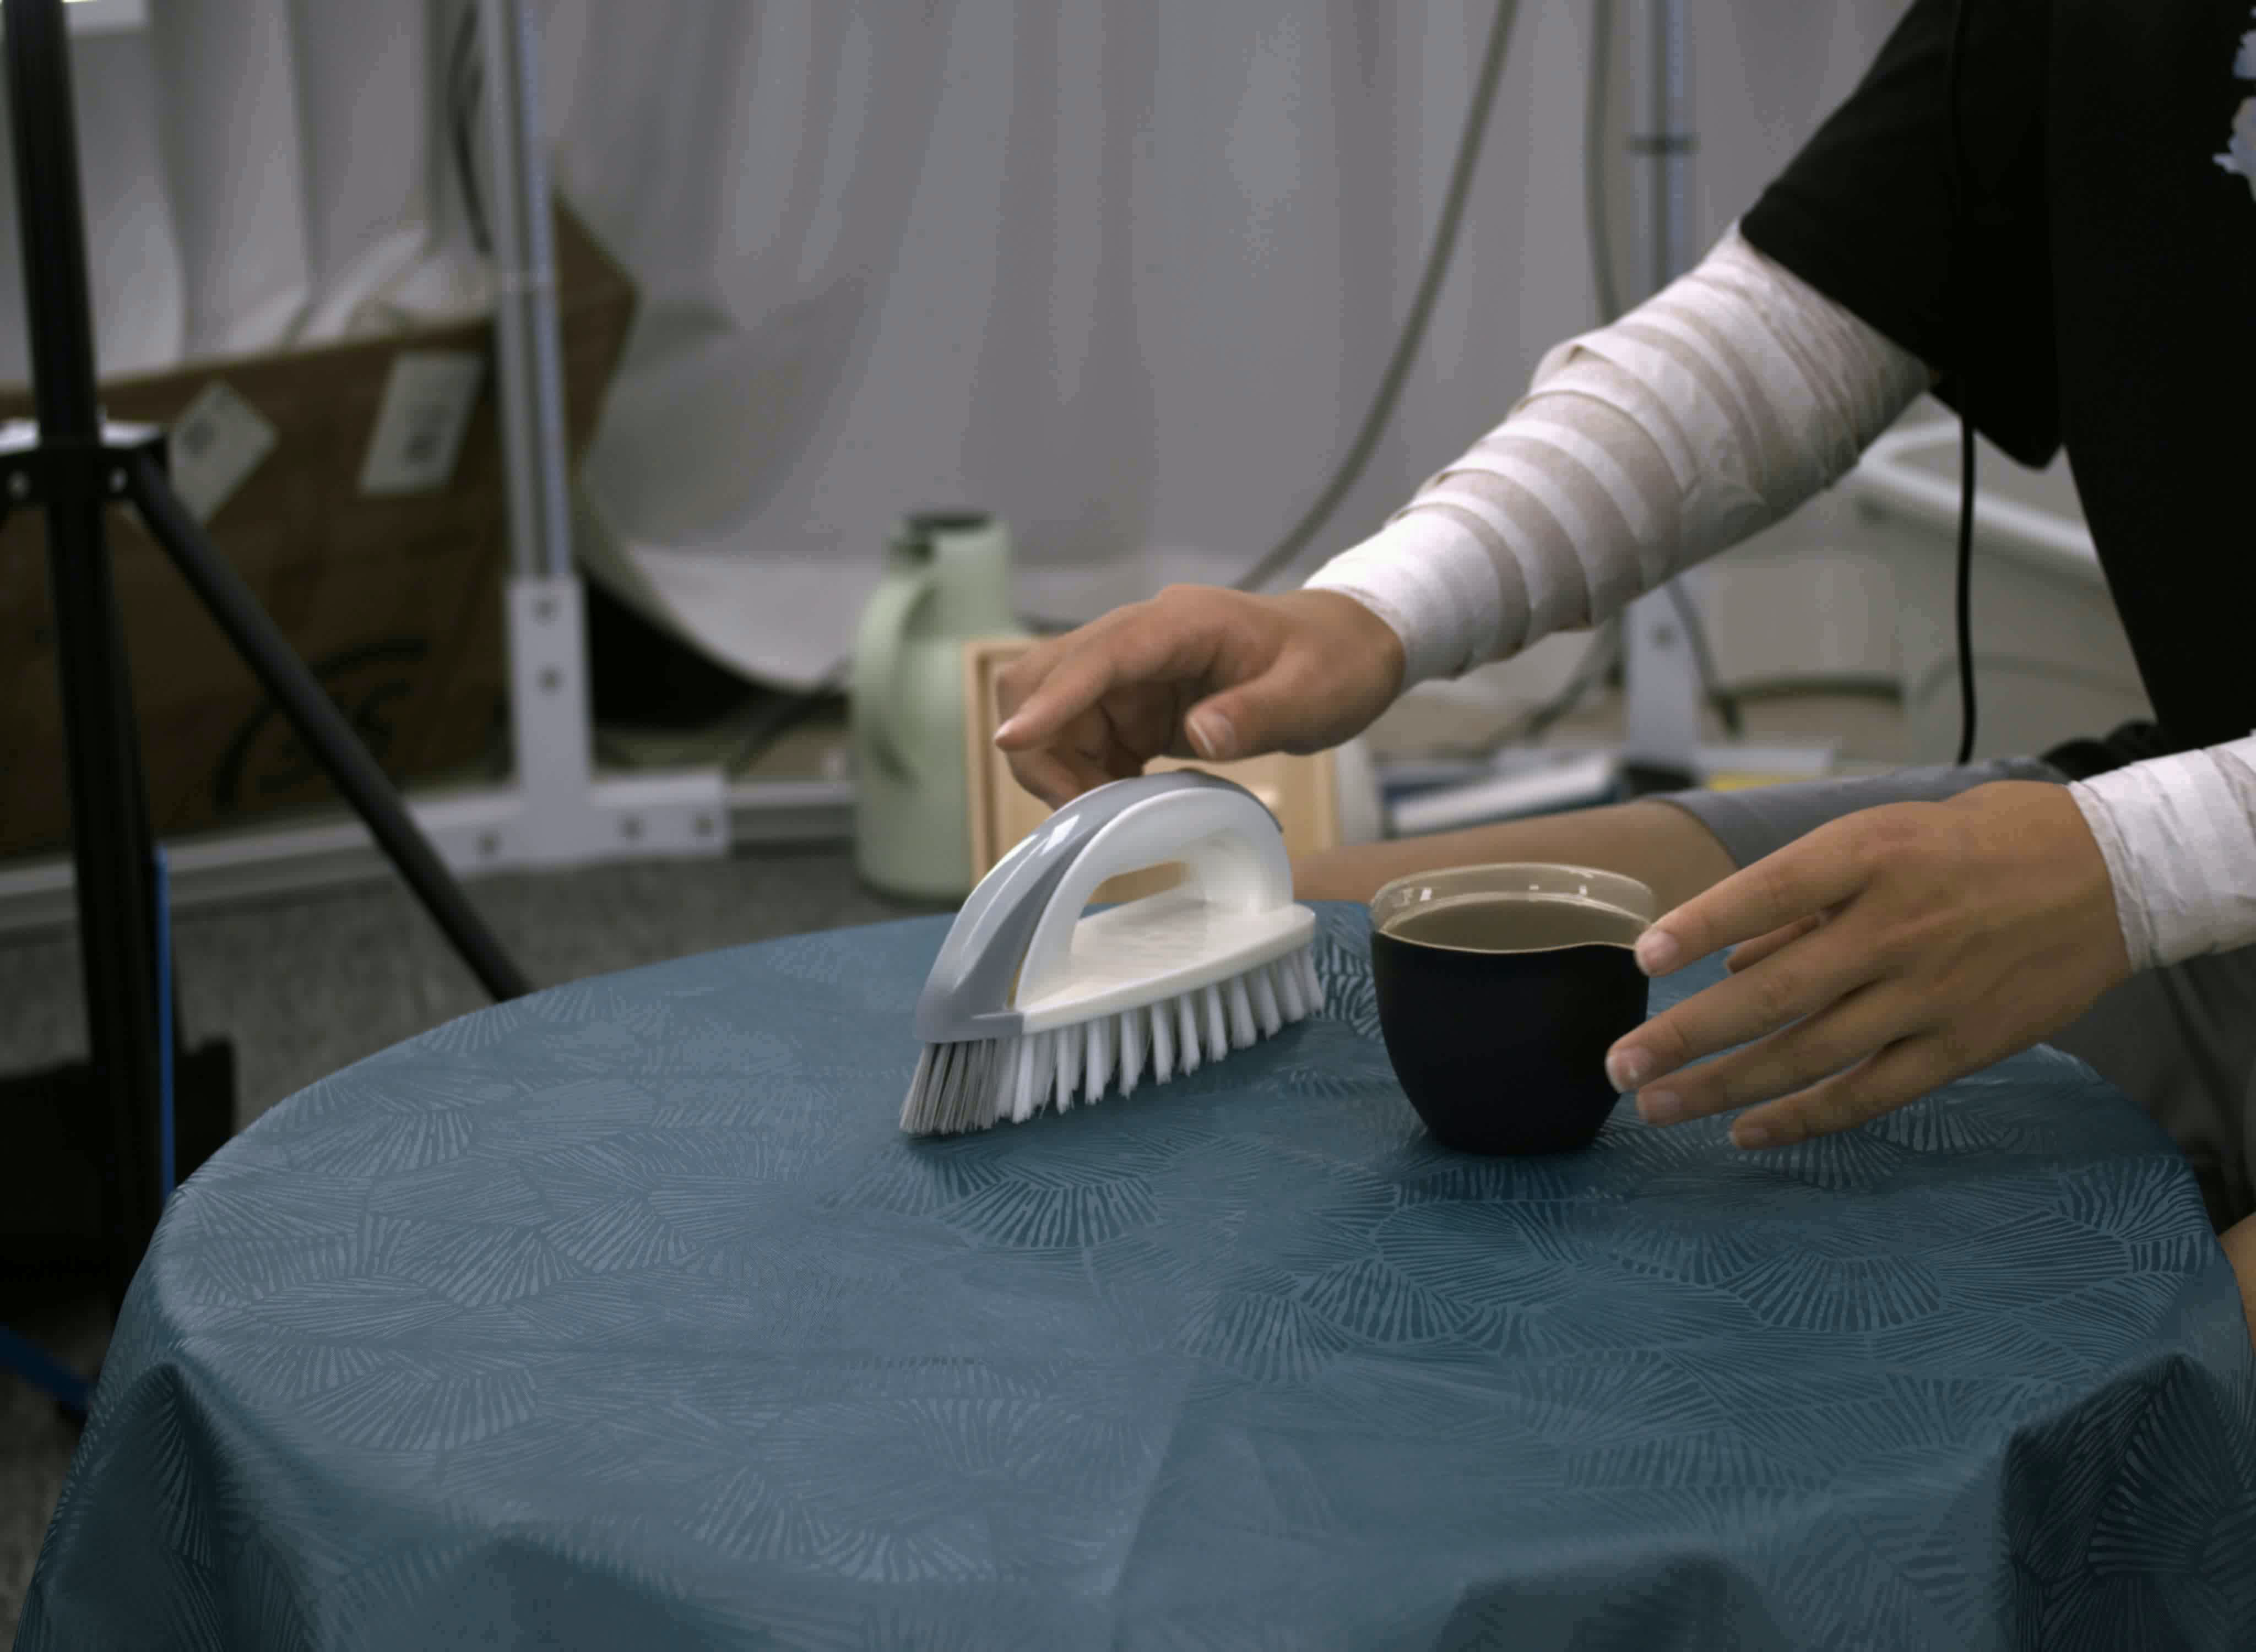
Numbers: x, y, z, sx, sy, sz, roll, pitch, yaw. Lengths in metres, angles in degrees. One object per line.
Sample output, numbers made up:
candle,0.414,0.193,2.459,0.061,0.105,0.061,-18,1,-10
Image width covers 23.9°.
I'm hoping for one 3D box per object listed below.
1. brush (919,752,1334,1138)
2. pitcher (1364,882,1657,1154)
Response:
brush,-0.008,0.033,1.658,0.063,0.094,0.172,8,21,41
pitcher,0.116,0.058,1.586,0.098,0.071,0.082,16,22,41
